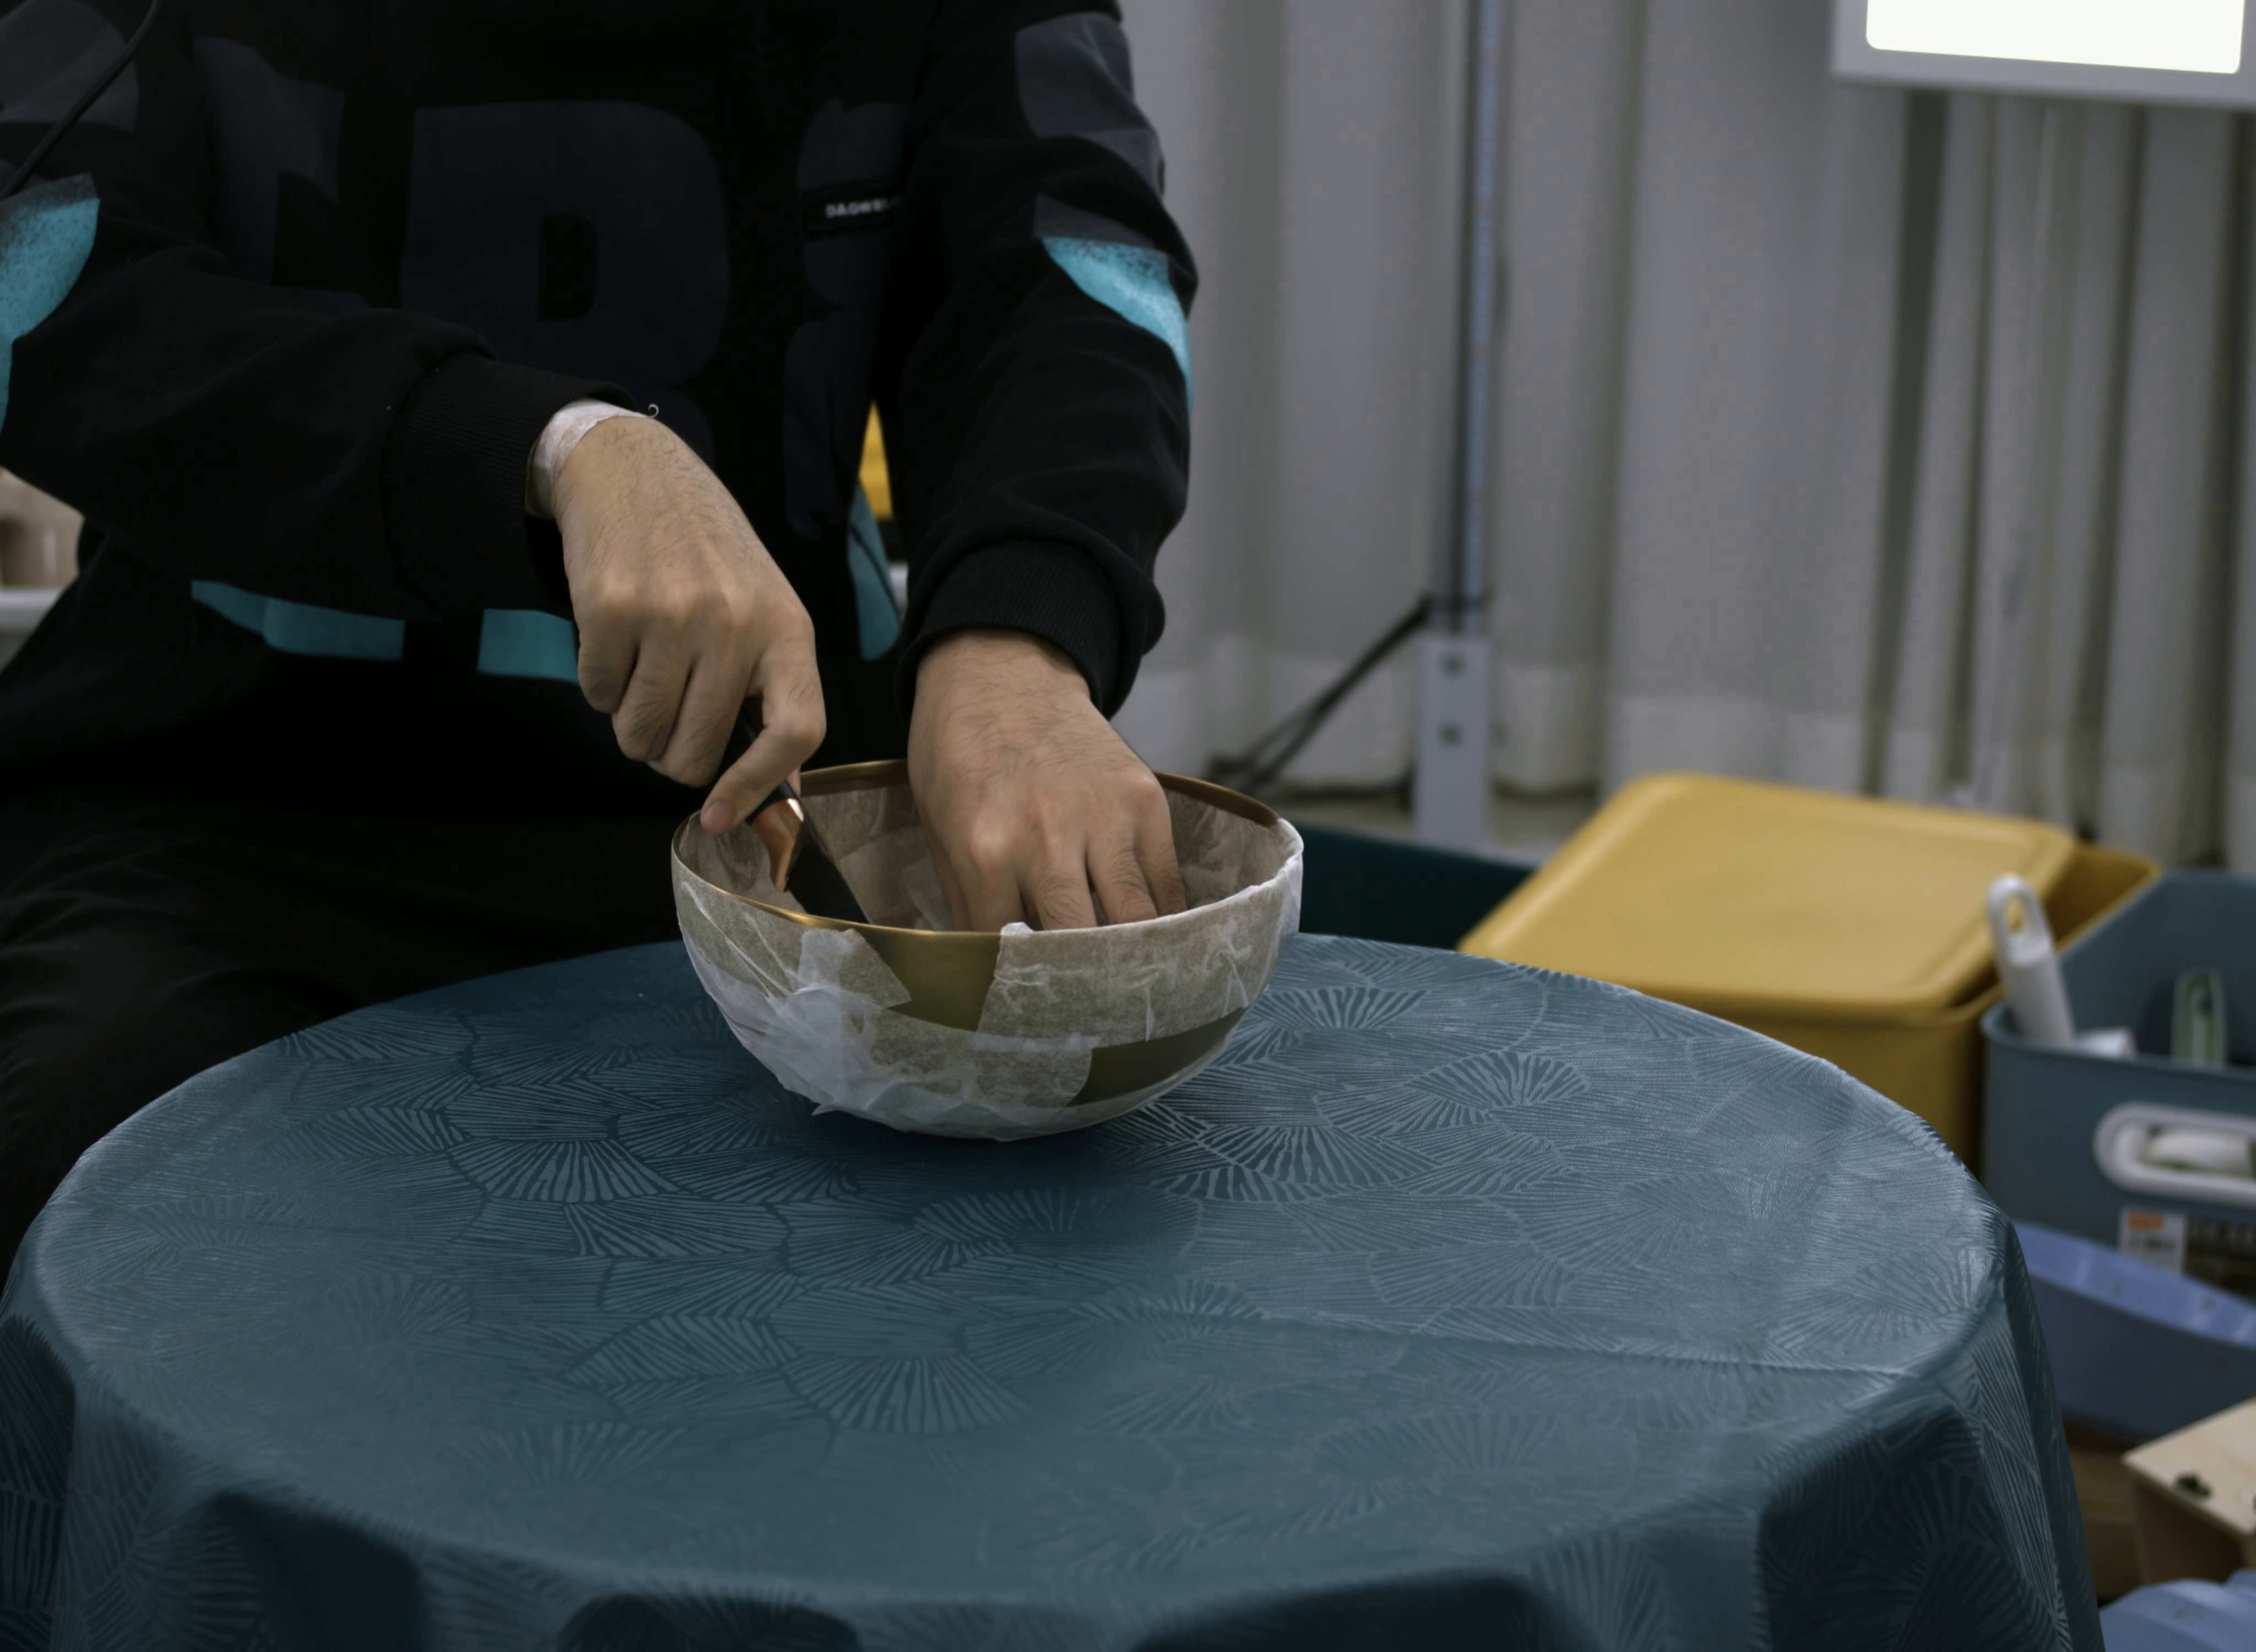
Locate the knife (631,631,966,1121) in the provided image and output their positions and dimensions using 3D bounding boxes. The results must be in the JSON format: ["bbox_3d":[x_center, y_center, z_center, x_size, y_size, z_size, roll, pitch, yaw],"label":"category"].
[{"bbox_3d":[-0.104,0.013,1.676,0.017,0.026,0.222,-8,45,-35],"label":"knife"}]

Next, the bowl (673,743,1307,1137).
[{"bbox_3d":[-0.046,0.043,1.687,0.214,0.095,0.213,0,18,0],"label":"bowl"}]
